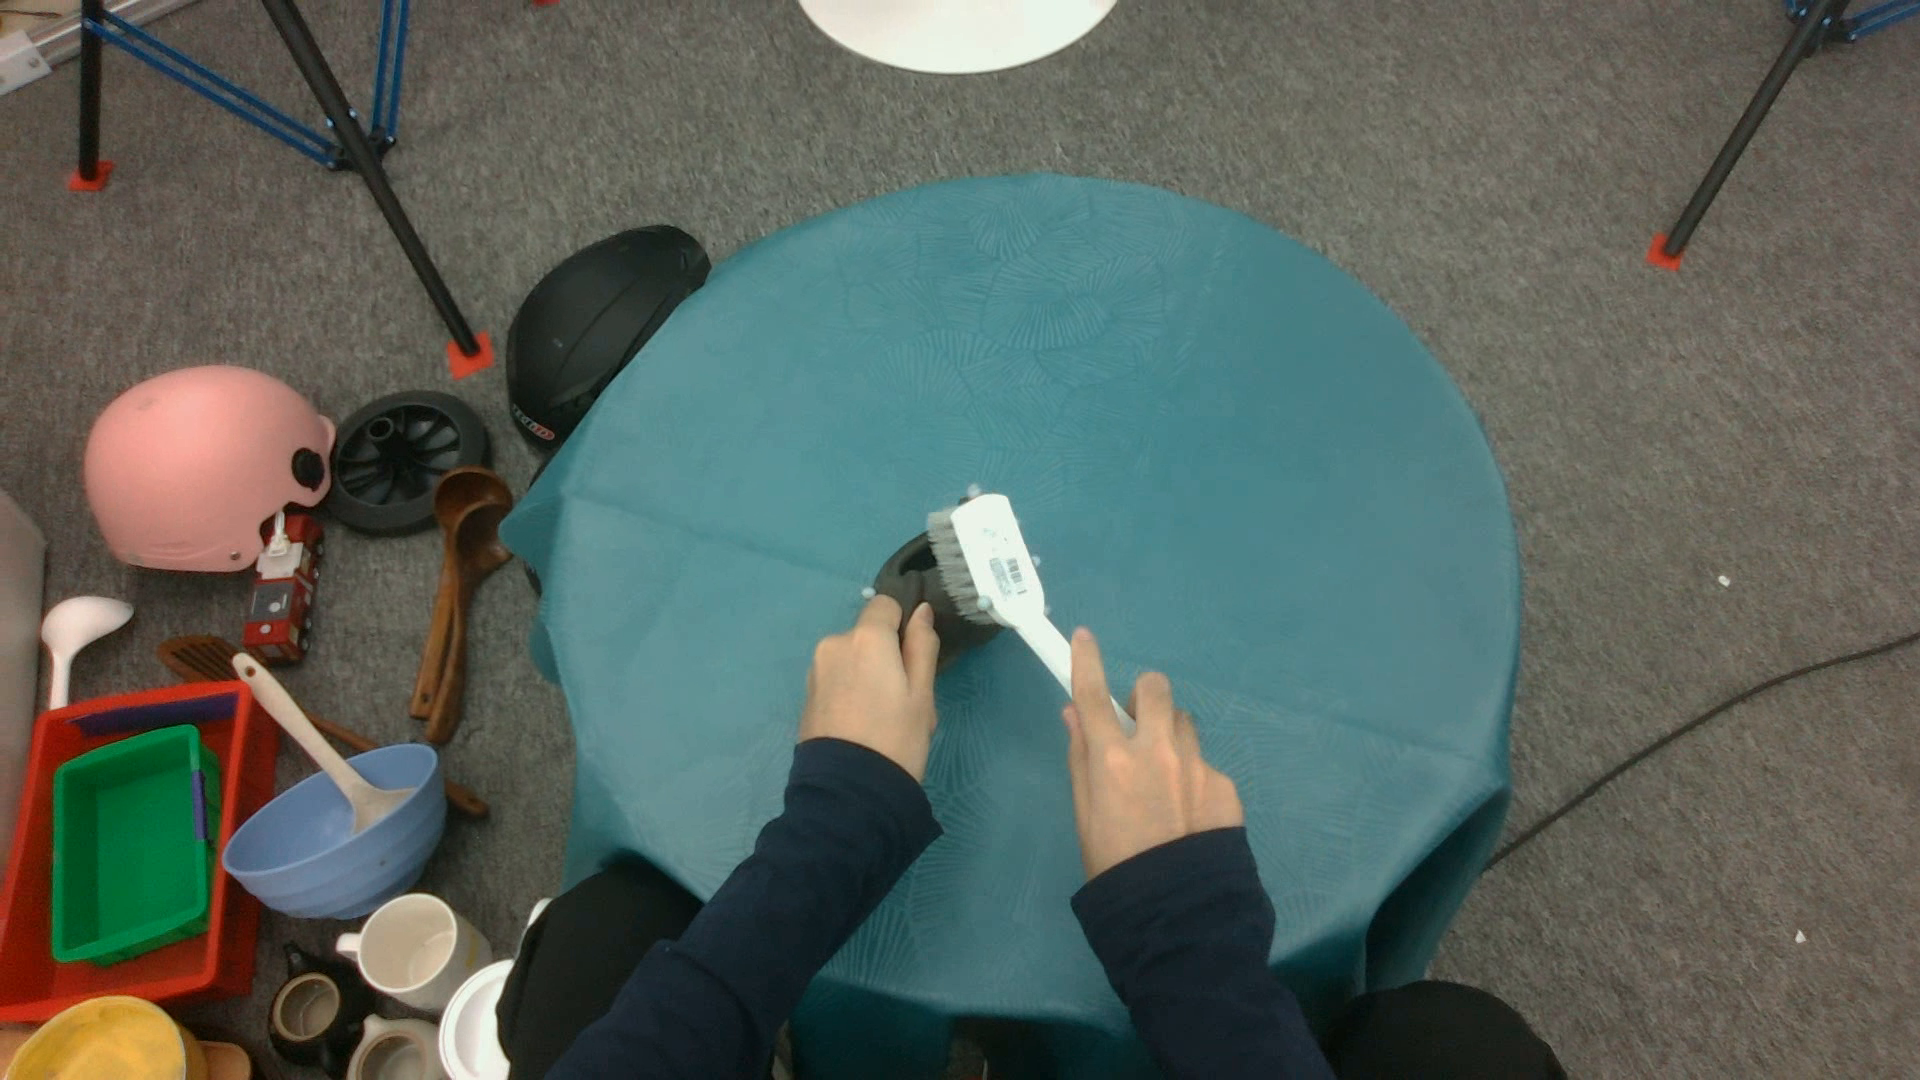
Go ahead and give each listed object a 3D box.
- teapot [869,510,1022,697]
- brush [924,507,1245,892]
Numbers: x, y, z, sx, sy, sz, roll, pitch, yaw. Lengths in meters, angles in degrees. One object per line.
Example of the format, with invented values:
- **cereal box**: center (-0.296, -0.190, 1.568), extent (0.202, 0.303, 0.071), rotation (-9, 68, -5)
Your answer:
- **teapot**: center (-0.008, 0.037, 0.802), extent (0.092, 0.064, 0.155), rotation (-16, 26, 27)
- **brush**: center (0.059, 0.083, 0.717), extent (0.034, 0.050, 0.244), rotation (-22, 69, -39)
